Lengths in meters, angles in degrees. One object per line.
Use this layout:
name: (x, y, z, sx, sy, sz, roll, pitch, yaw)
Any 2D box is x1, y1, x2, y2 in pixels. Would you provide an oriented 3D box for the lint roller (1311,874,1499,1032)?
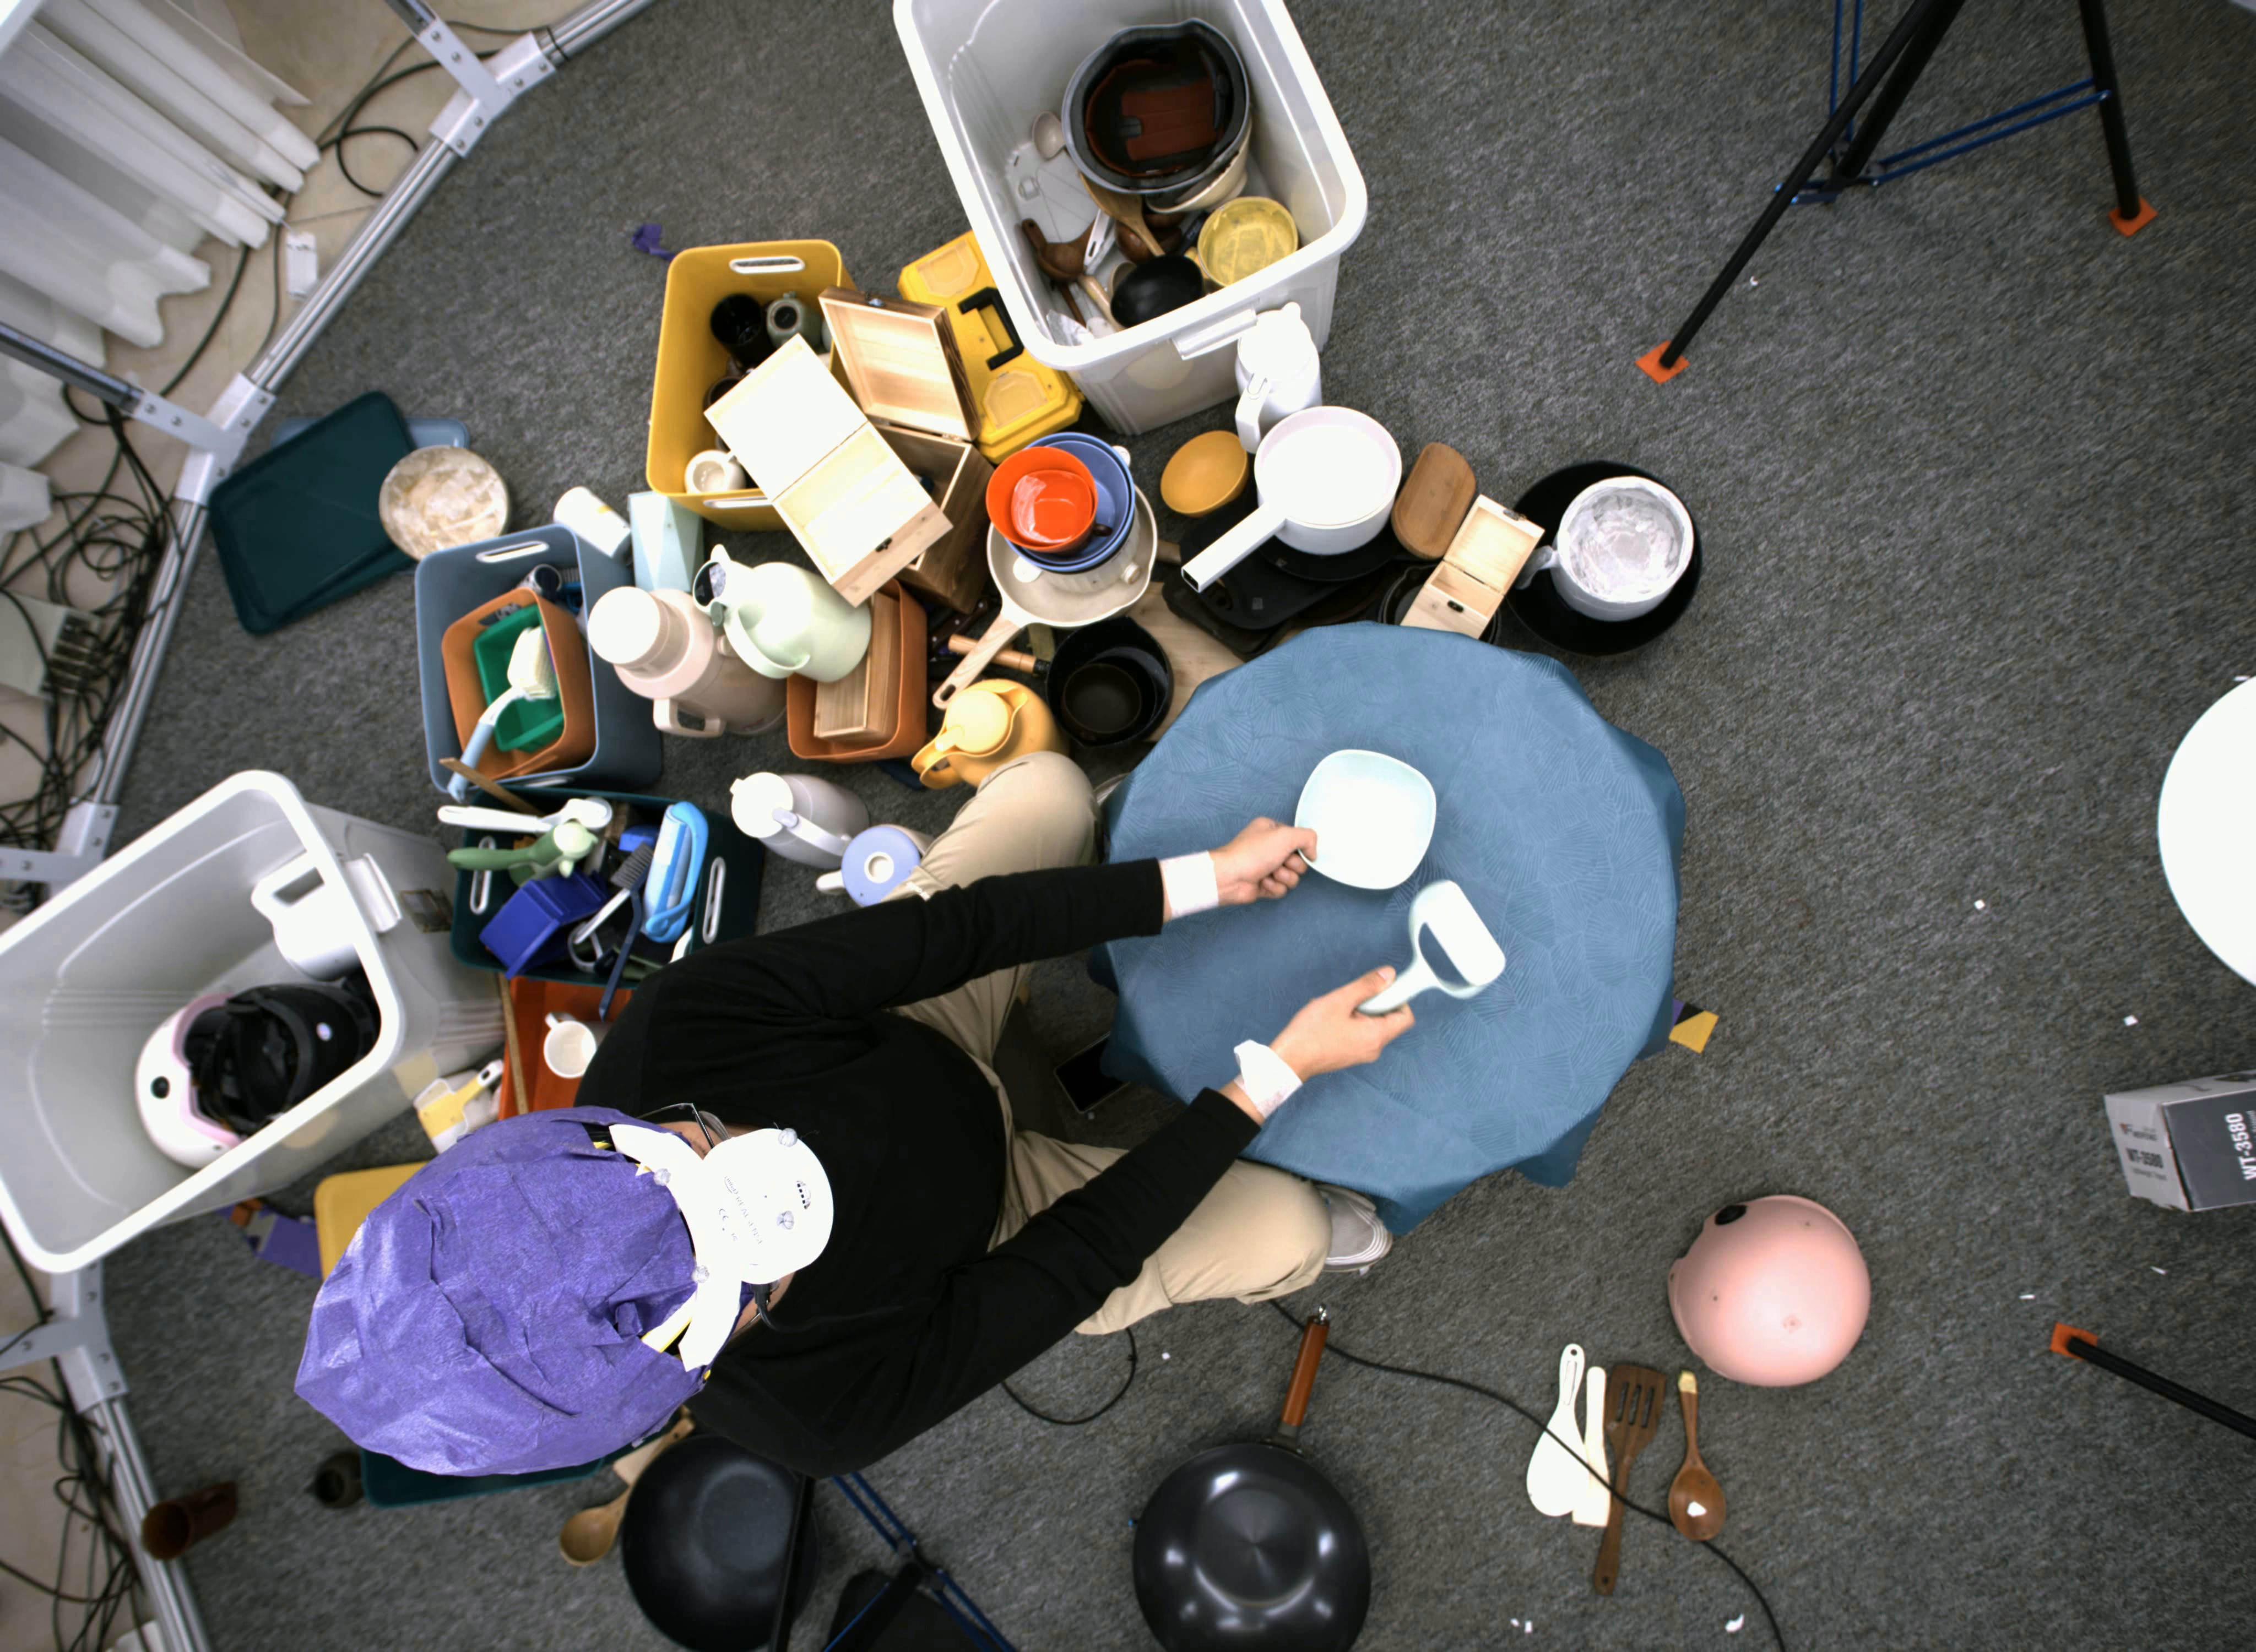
lint roller: (0.263, 0.140, 1.358, 0.198, 0.048, 0.118, -39, 121, 4)

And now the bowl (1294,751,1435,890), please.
bowl: (0.246, -0.004, 1.440, 0.152, 0.059, 0.150, -1, 85, 9)
